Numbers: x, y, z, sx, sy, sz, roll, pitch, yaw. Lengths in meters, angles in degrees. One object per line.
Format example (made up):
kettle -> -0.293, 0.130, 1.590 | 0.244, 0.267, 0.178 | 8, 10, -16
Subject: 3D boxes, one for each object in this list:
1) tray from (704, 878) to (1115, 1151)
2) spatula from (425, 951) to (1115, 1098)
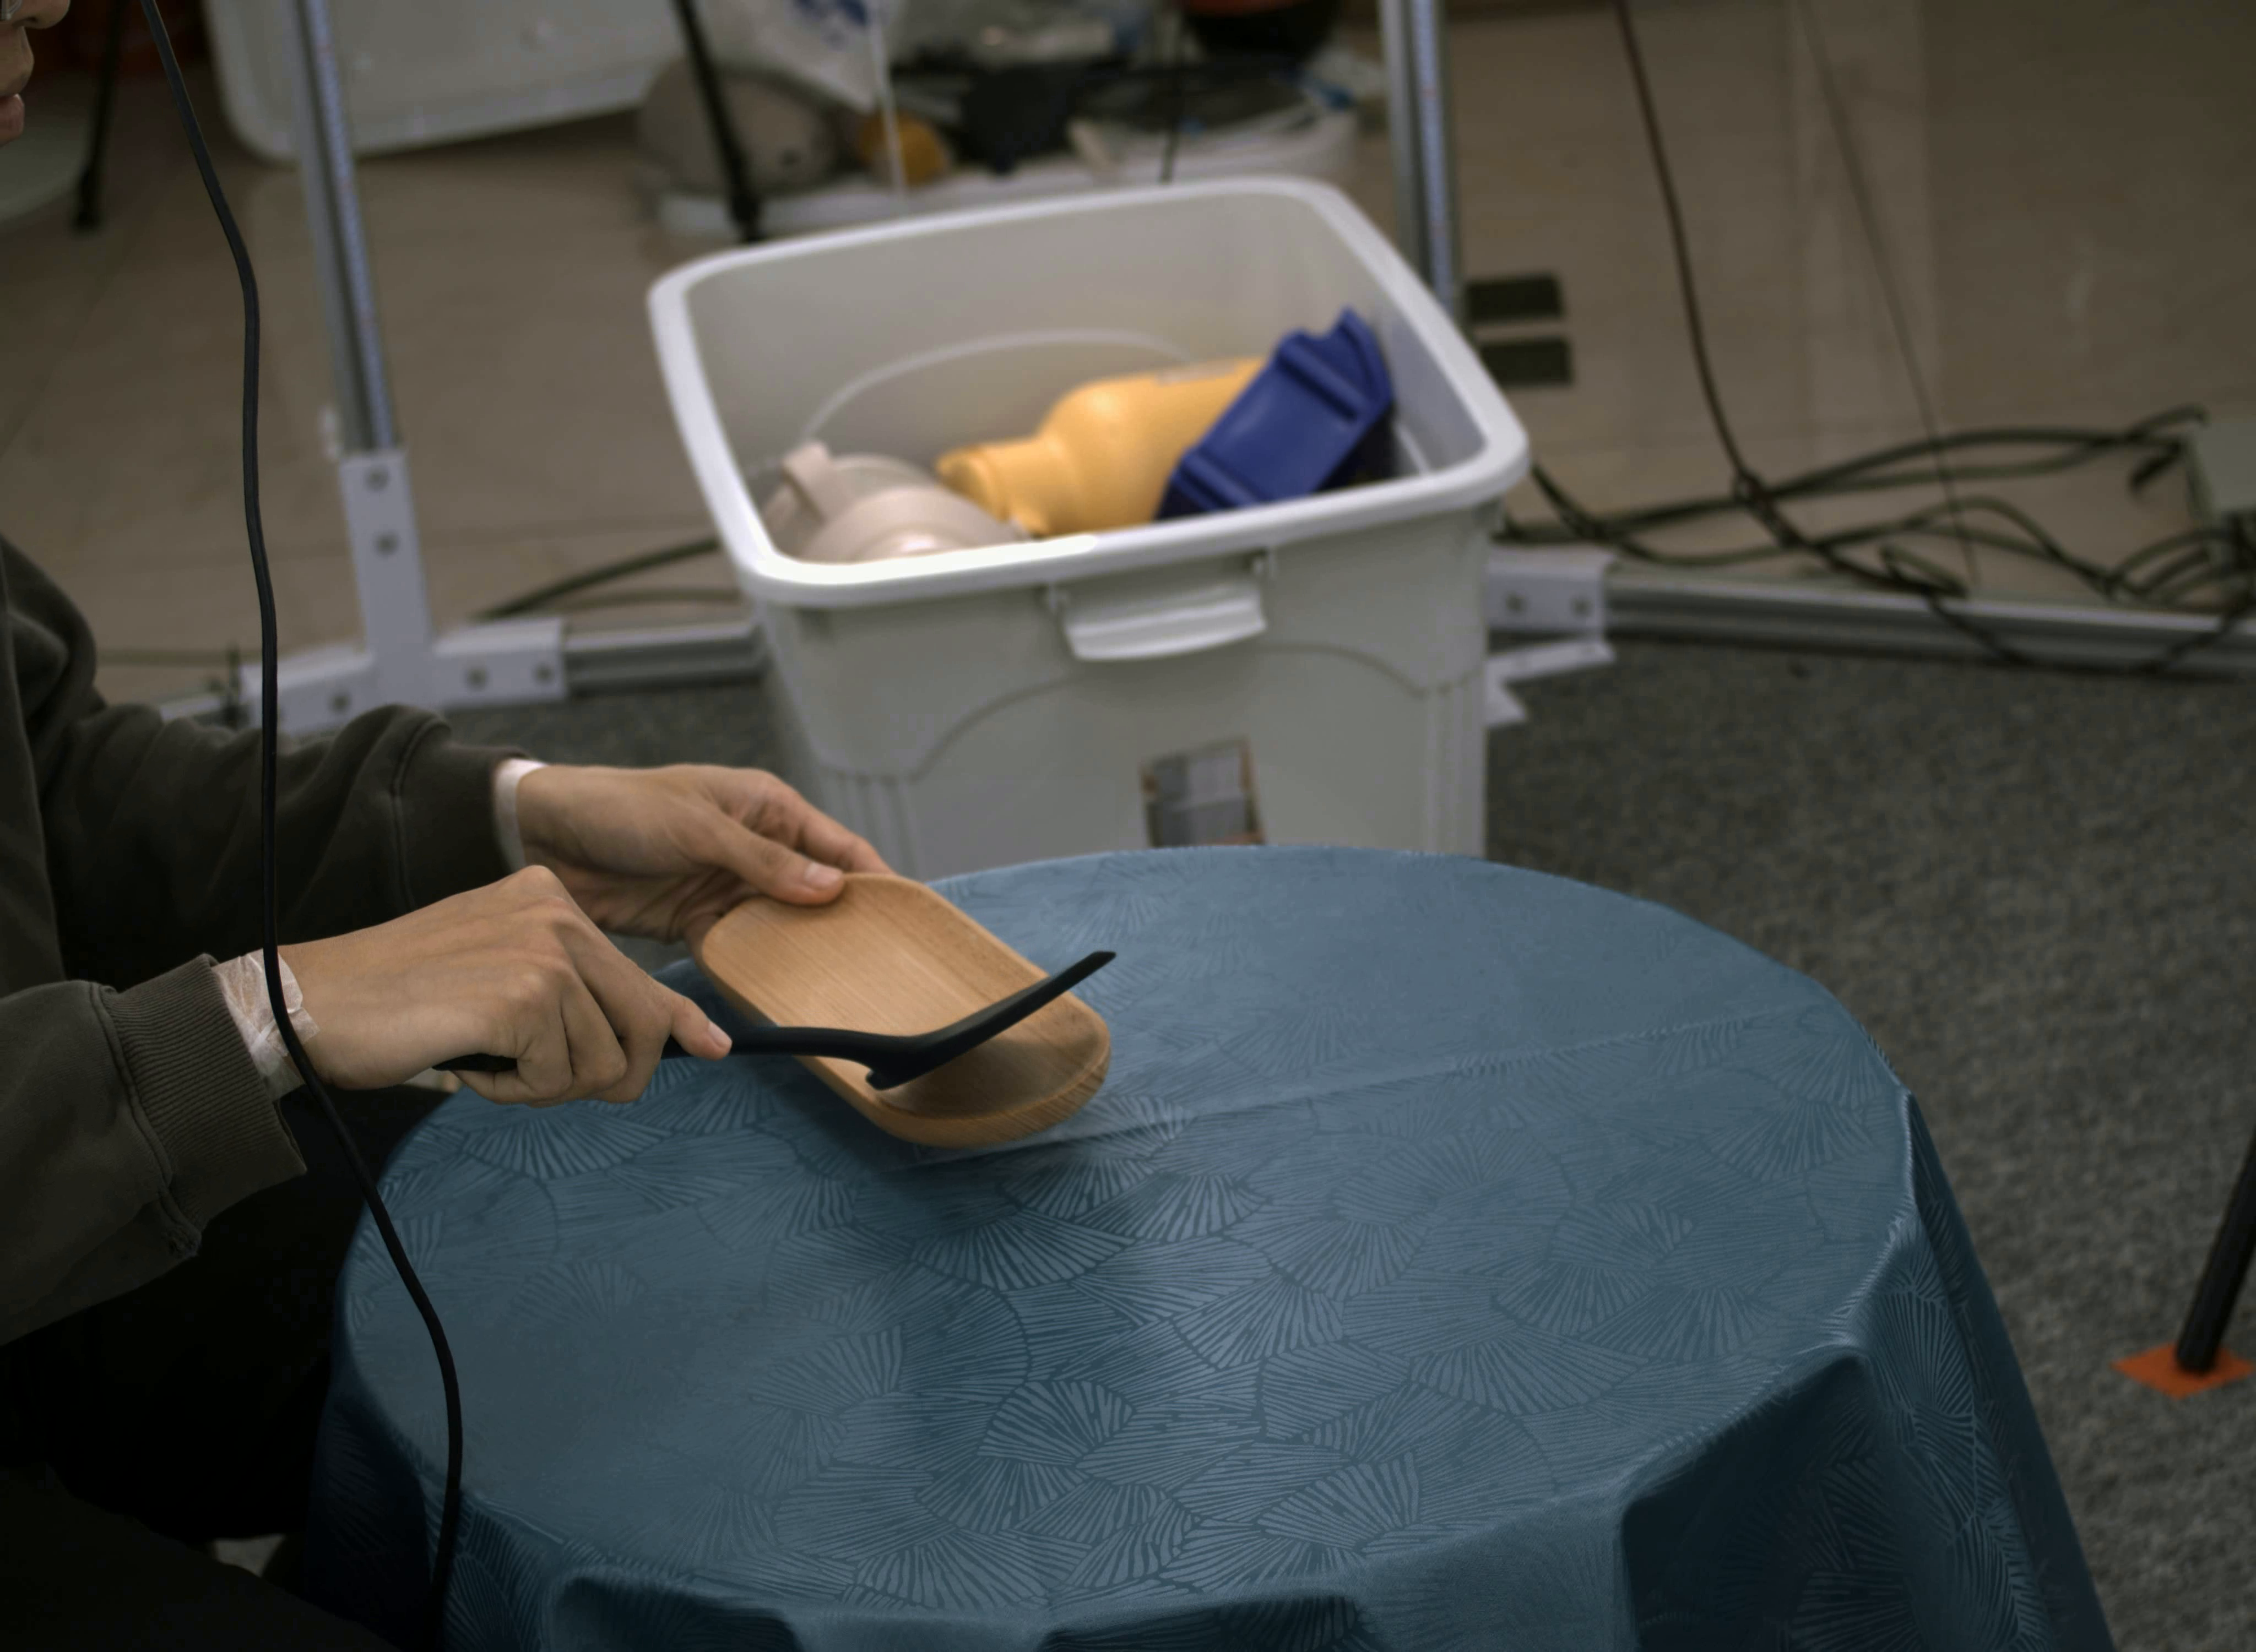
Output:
tray -> -0.087, 0.073, 2.230 | 0.101, 0.020, 0.228 | -22, 32, -23
spatula -> -0.135, 0.073, 2.060 | 0.100, 0.040, 0.326 | -28, -21, 36
